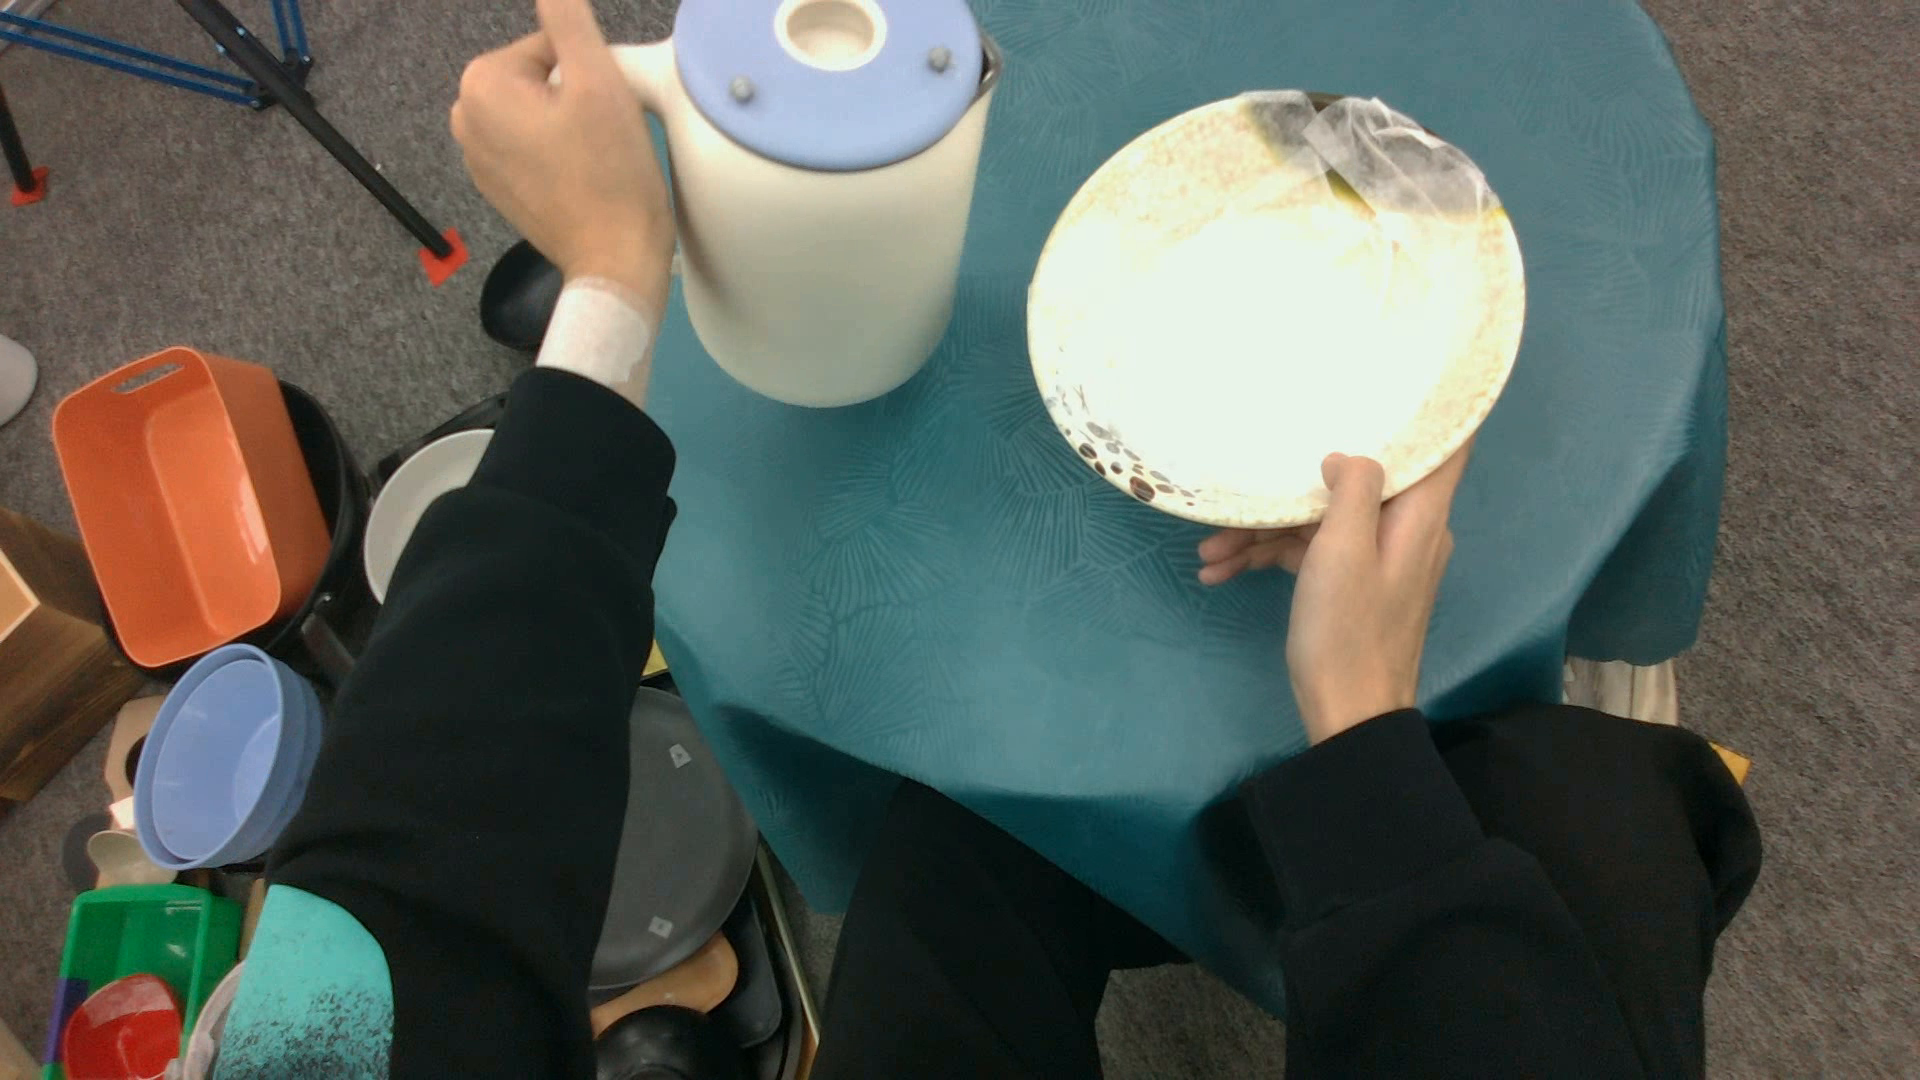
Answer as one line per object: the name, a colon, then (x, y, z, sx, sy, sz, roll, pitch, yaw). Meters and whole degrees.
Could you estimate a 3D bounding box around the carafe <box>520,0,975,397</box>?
carafe: (-0.094, -0.159, 0.607, 0.191, 0.182, 0.132, -2, 64, -5)

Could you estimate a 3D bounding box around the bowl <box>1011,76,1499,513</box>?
bowl: (0.129, -0.099, 0.618, 0.204, 0.078, 0.204, -4, 73, 13)
